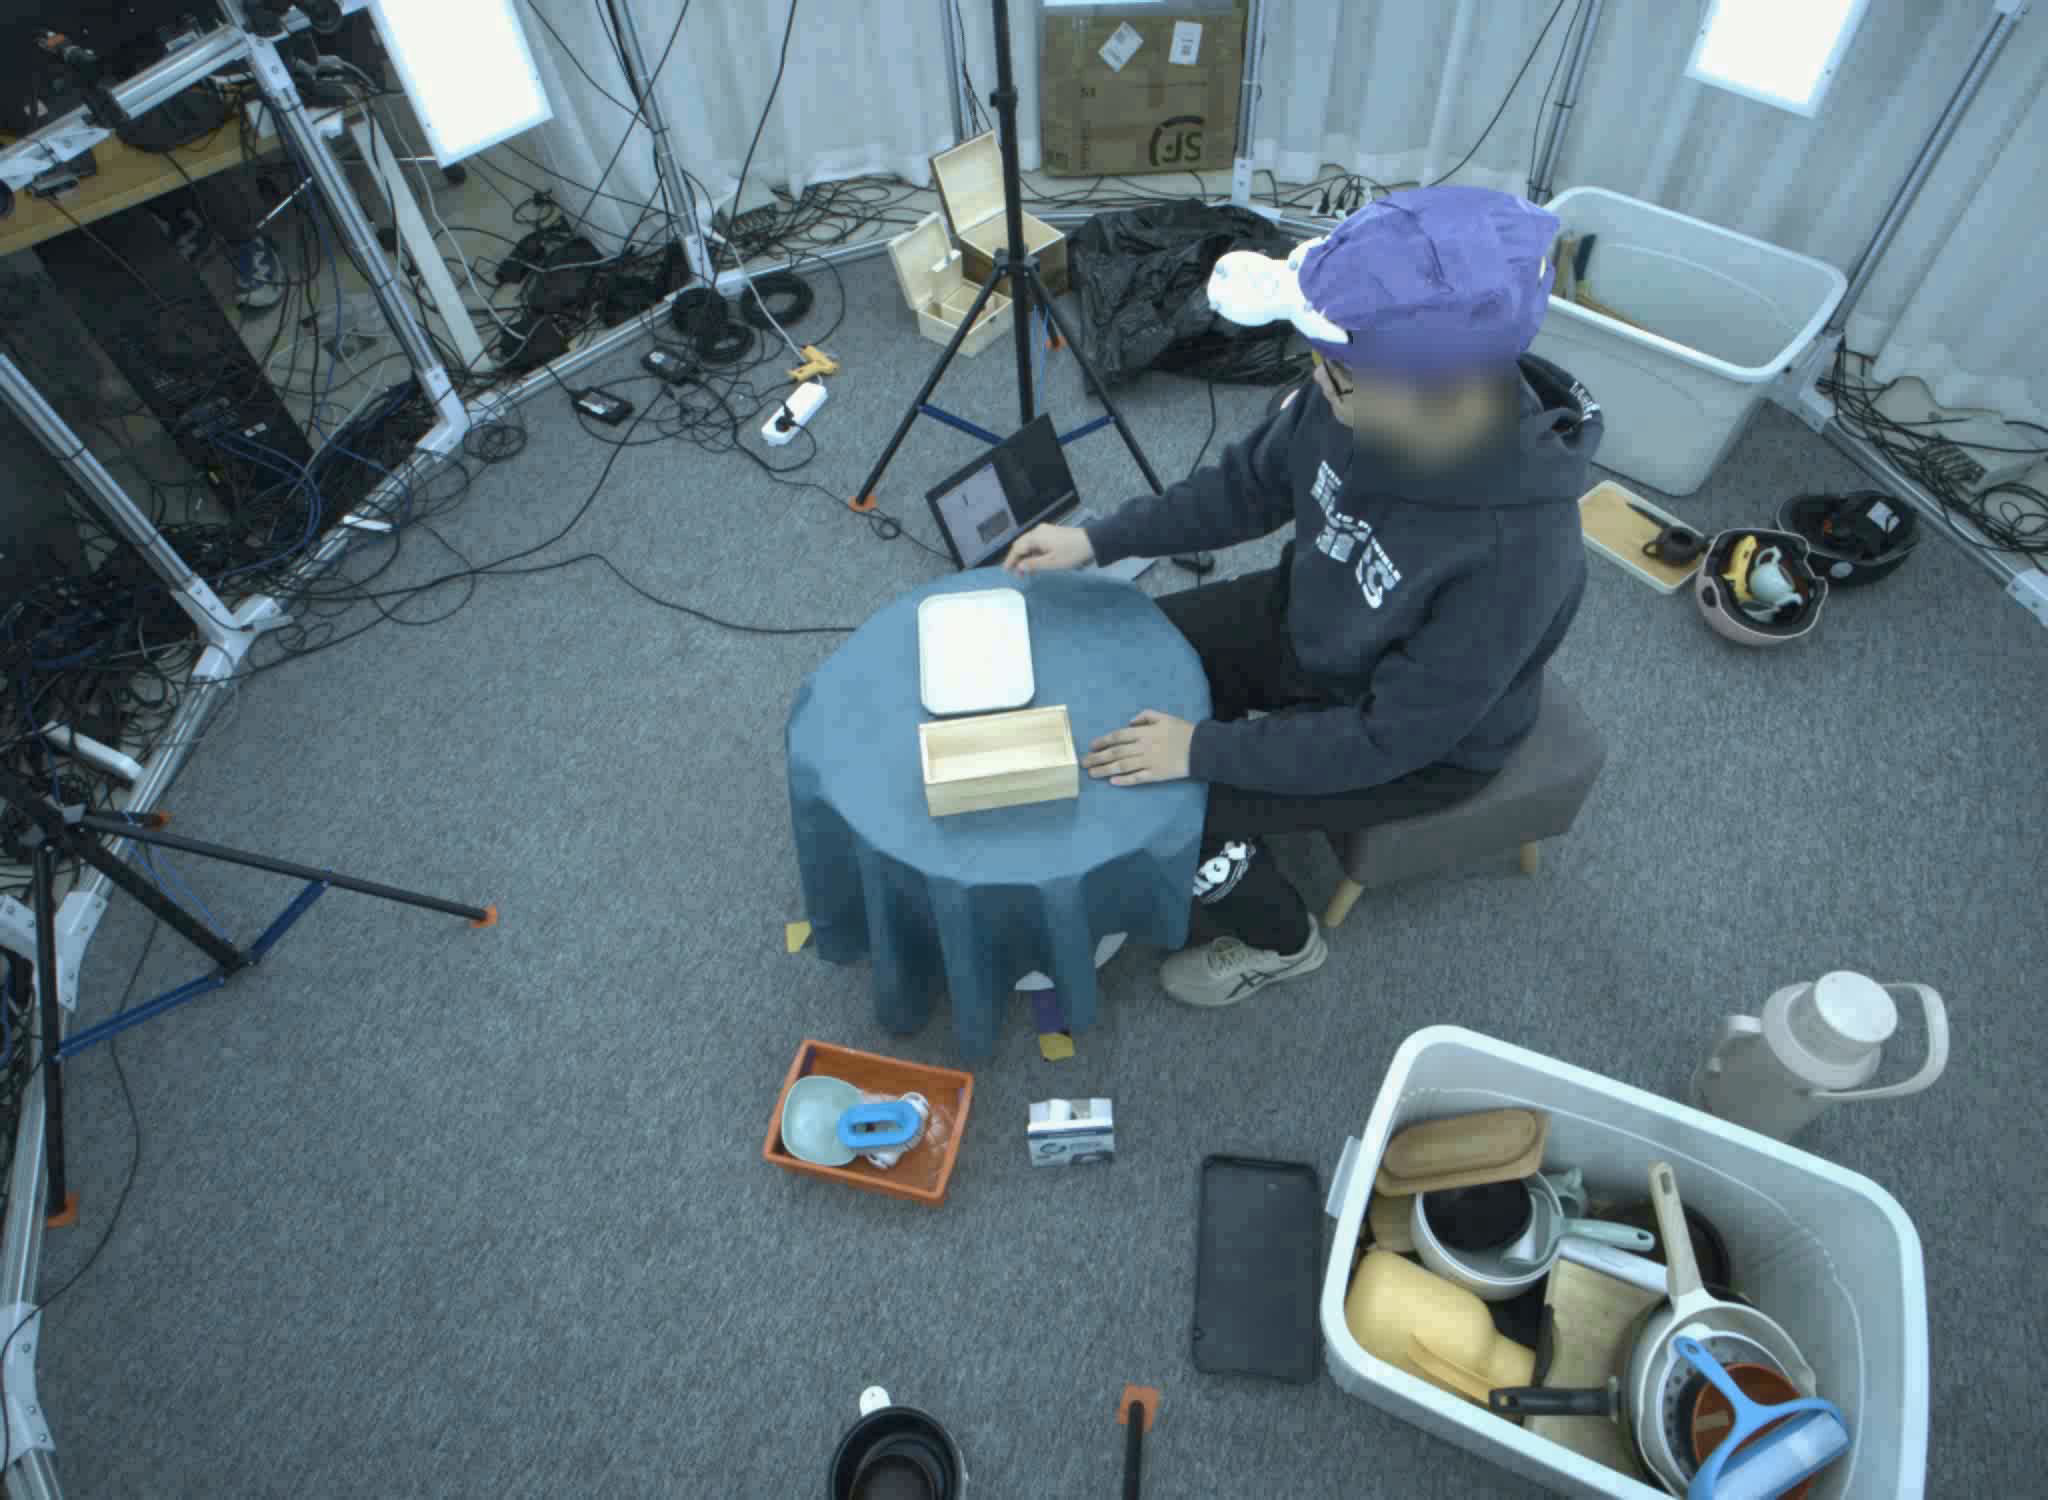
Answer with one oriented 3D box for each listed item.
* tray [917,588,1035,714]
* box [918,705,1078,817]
[{"bbox_3d":[-0.076,-0.153,1.887,0.171,0.017,0.236,-4,55,-3],"label":"tray"},{"bbox_3d":[-0.036,0.015,1.729,0.212,0.081,0.106,-8,55,-4],"label":"box"}]
